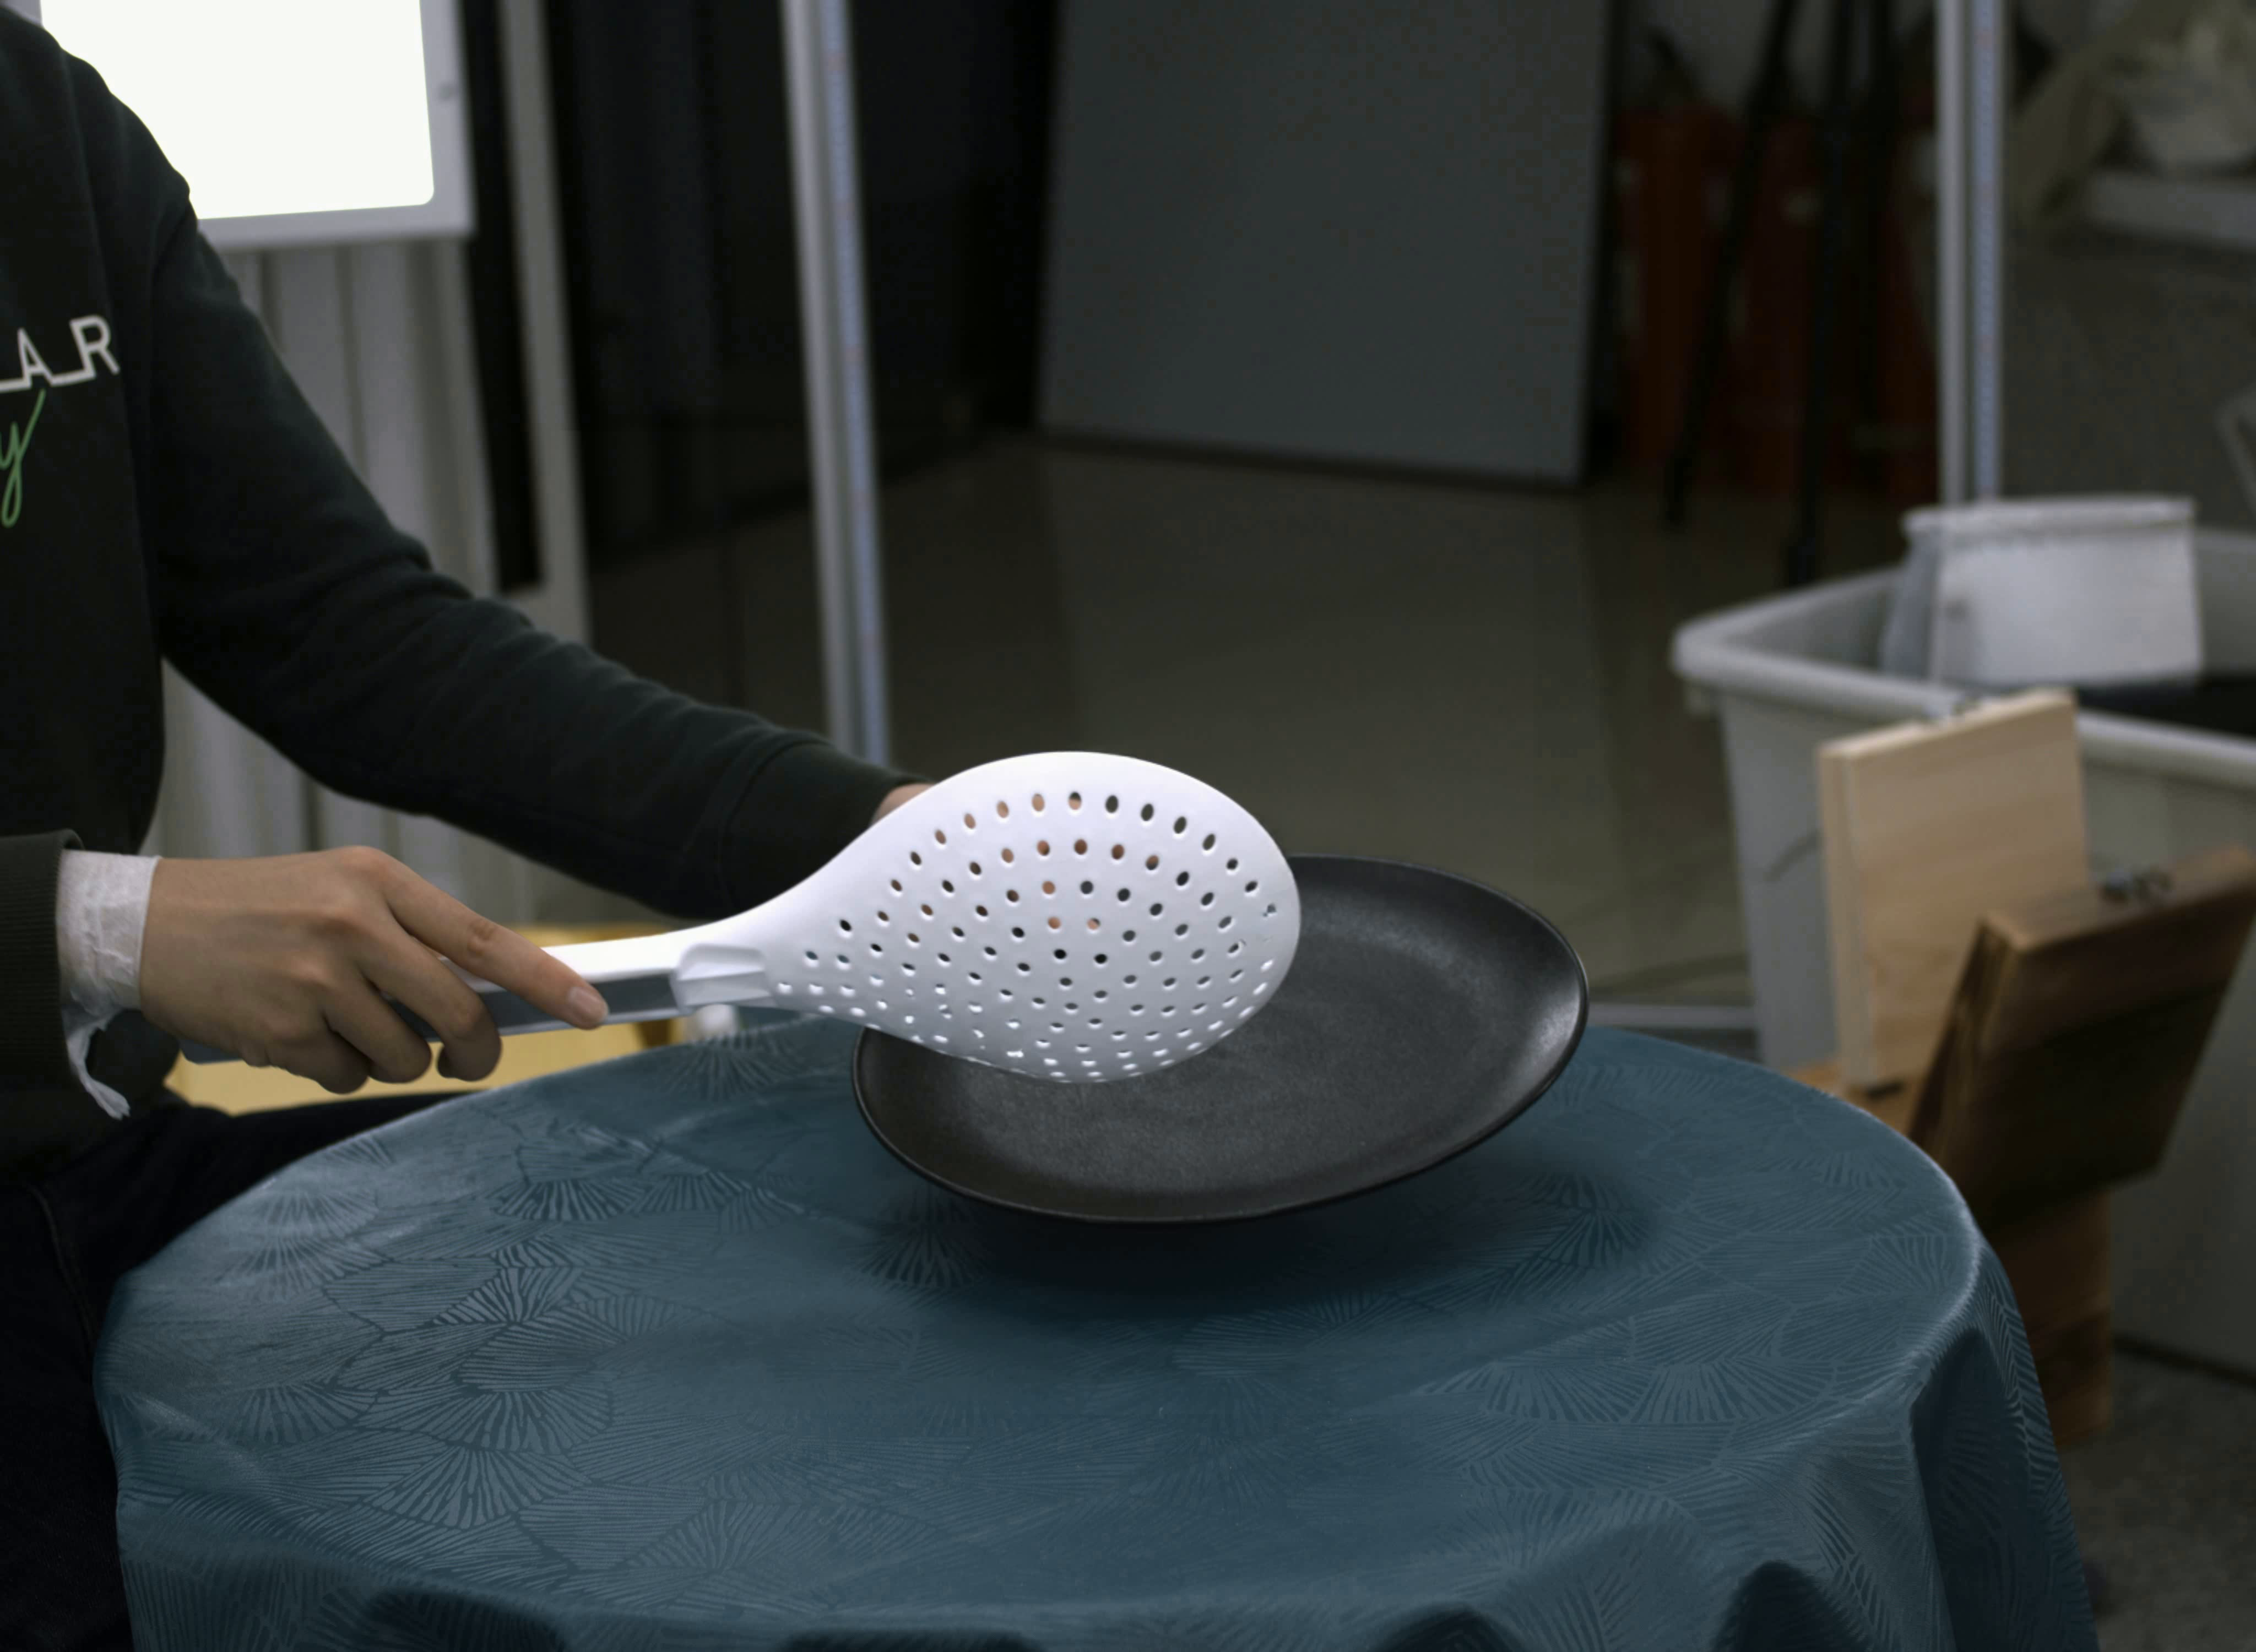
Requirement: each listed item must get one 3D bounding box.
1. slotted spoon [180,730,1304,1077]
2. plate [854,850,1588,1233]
[{"bbox_3d":[-0.119,0.042,1.634,0.348,0.136,0.046,-4,41,13],"label":"slotted spoon"},{"bbox_3d":[0.031,0.074,1.753,0.241,0.023,0.245,-7,27,3],"label":"plate"}]
